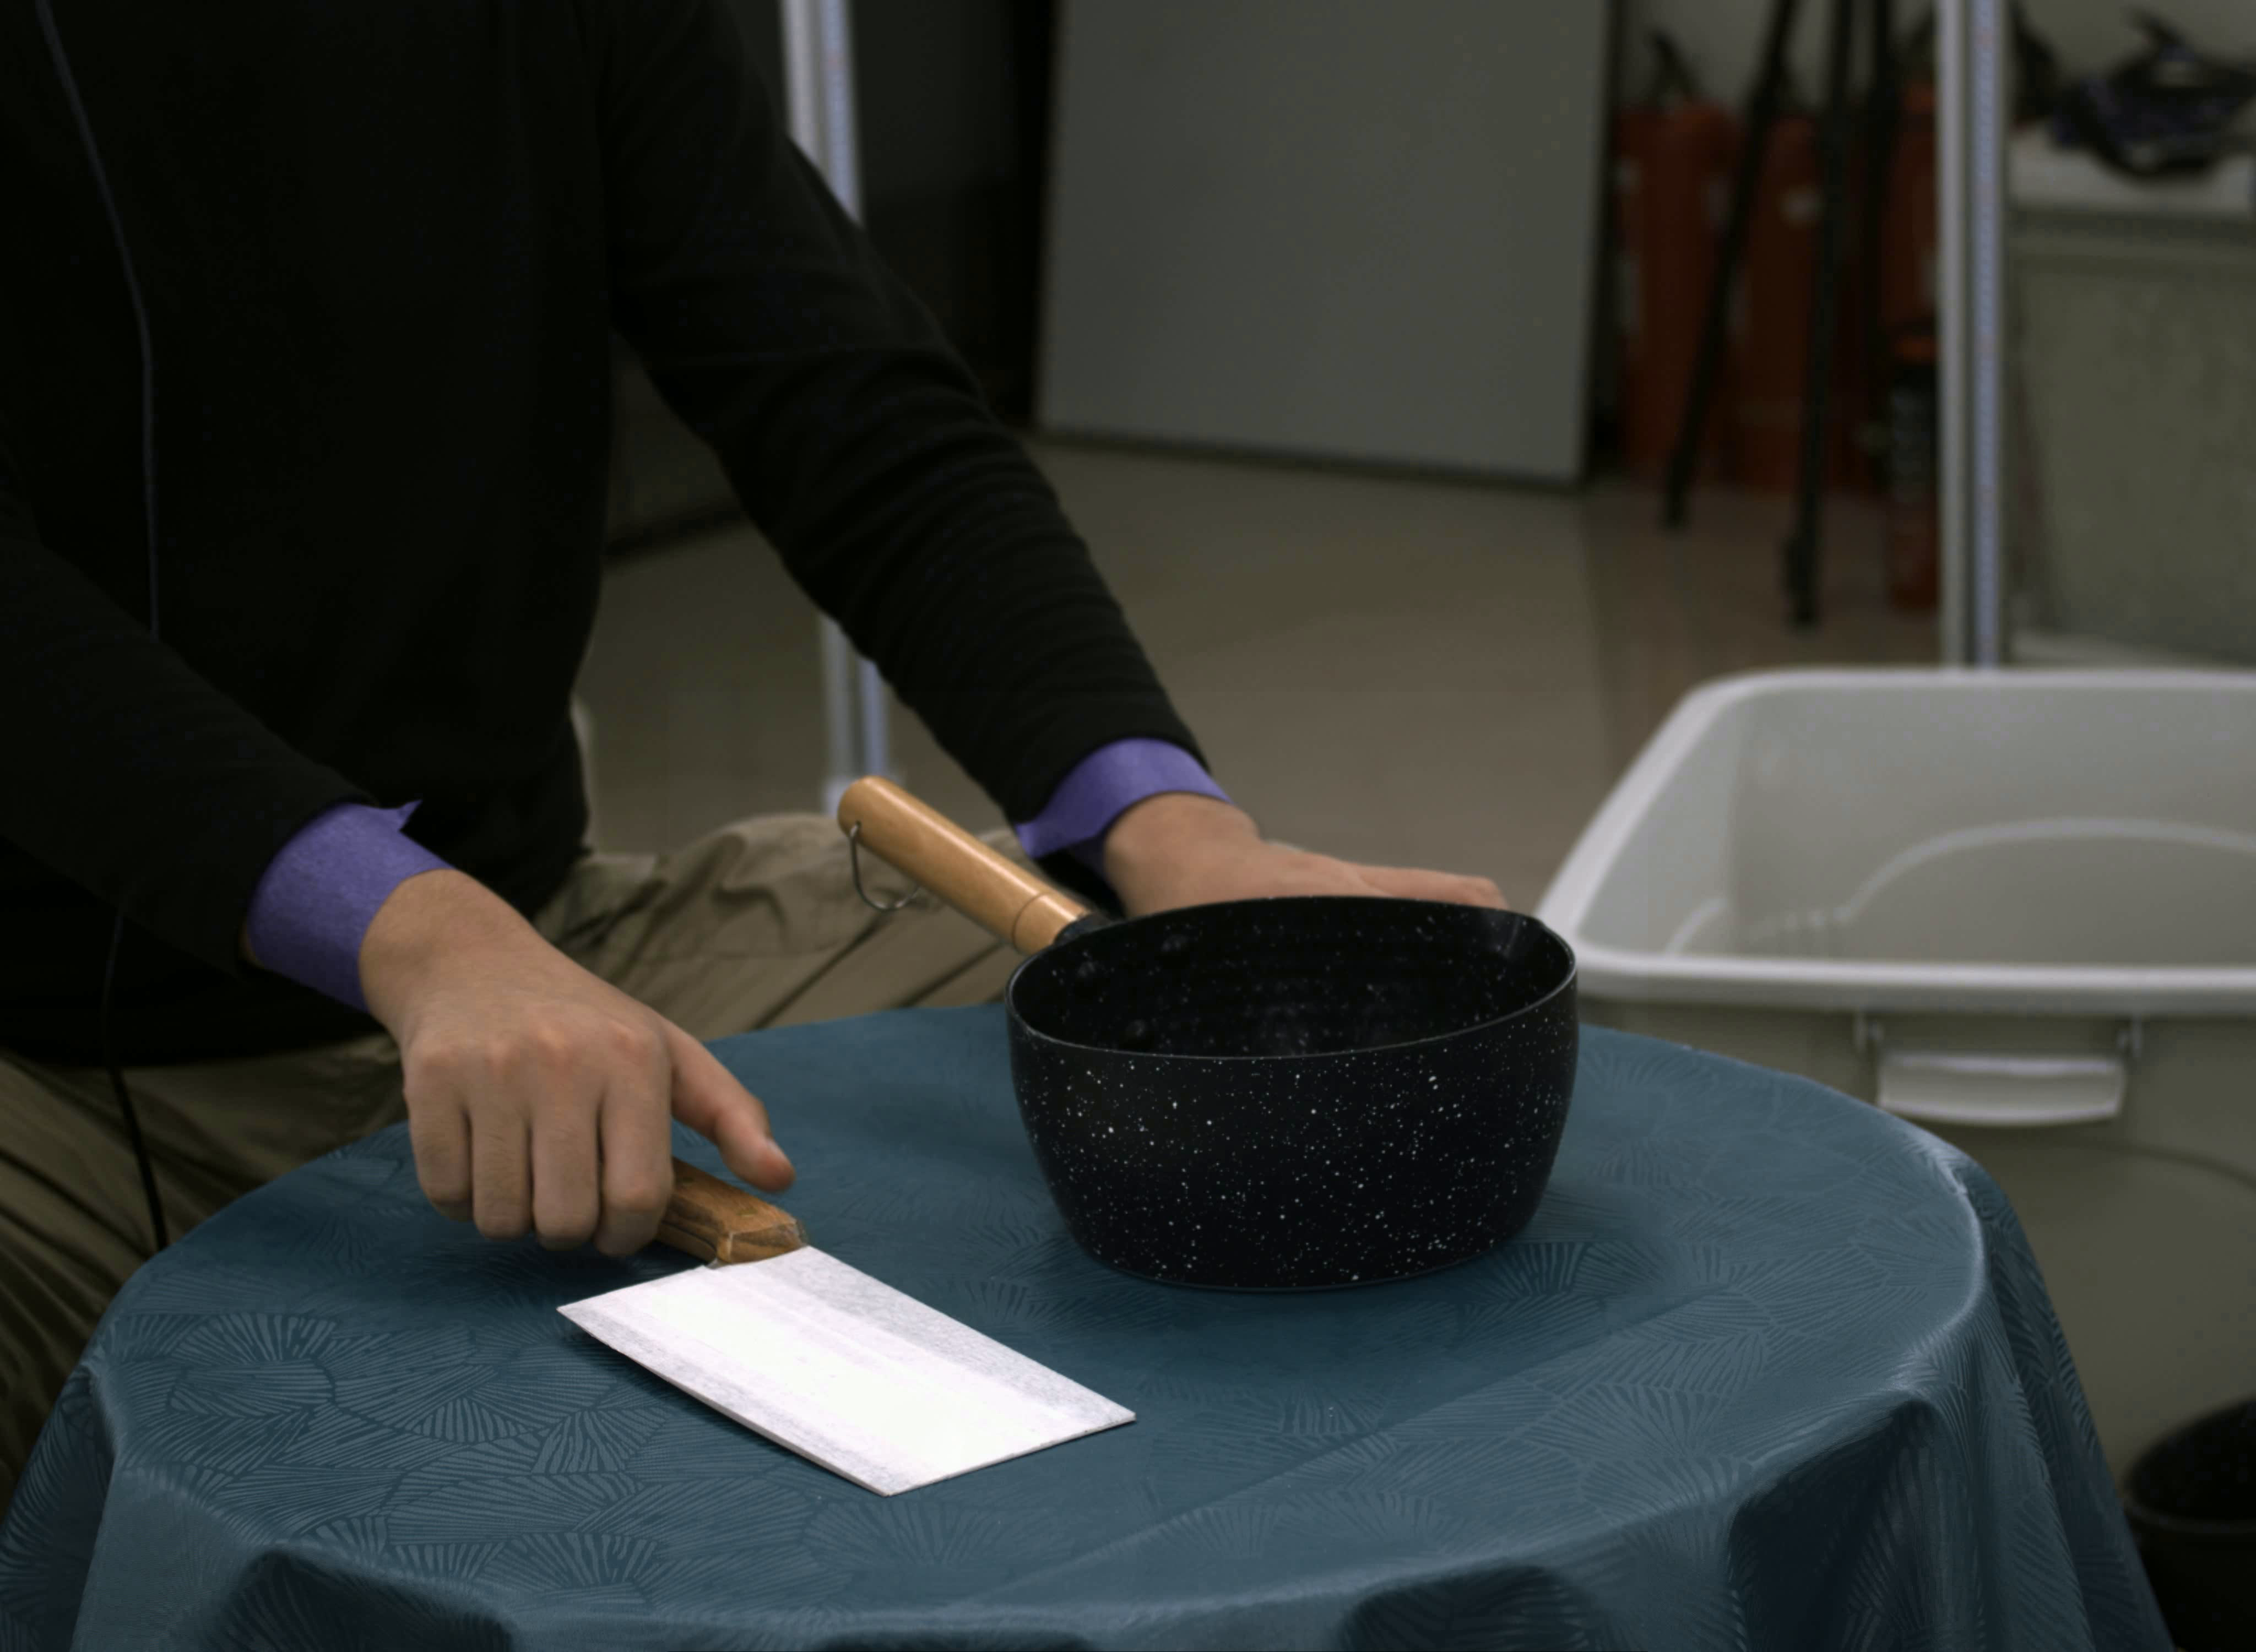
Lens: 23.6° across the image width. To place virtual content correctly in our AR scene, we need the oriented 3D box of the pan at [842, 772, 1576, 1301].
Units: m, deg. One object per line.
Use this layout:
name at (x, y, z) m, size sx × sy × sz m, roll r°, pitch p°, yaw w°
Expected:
pan at (0.005, 0.063, 1.785) m, size 0.203 × 0.109 × 0.346 m, roll -14°, pitch 18°, yaw -34°

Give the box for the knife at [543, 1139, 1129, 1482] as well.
knife at (-0.117, 0.150, 1.664) m, size 0.091 × 0.021 × 0.309 m, roll -14°, pitch 19°, yaw -31°
